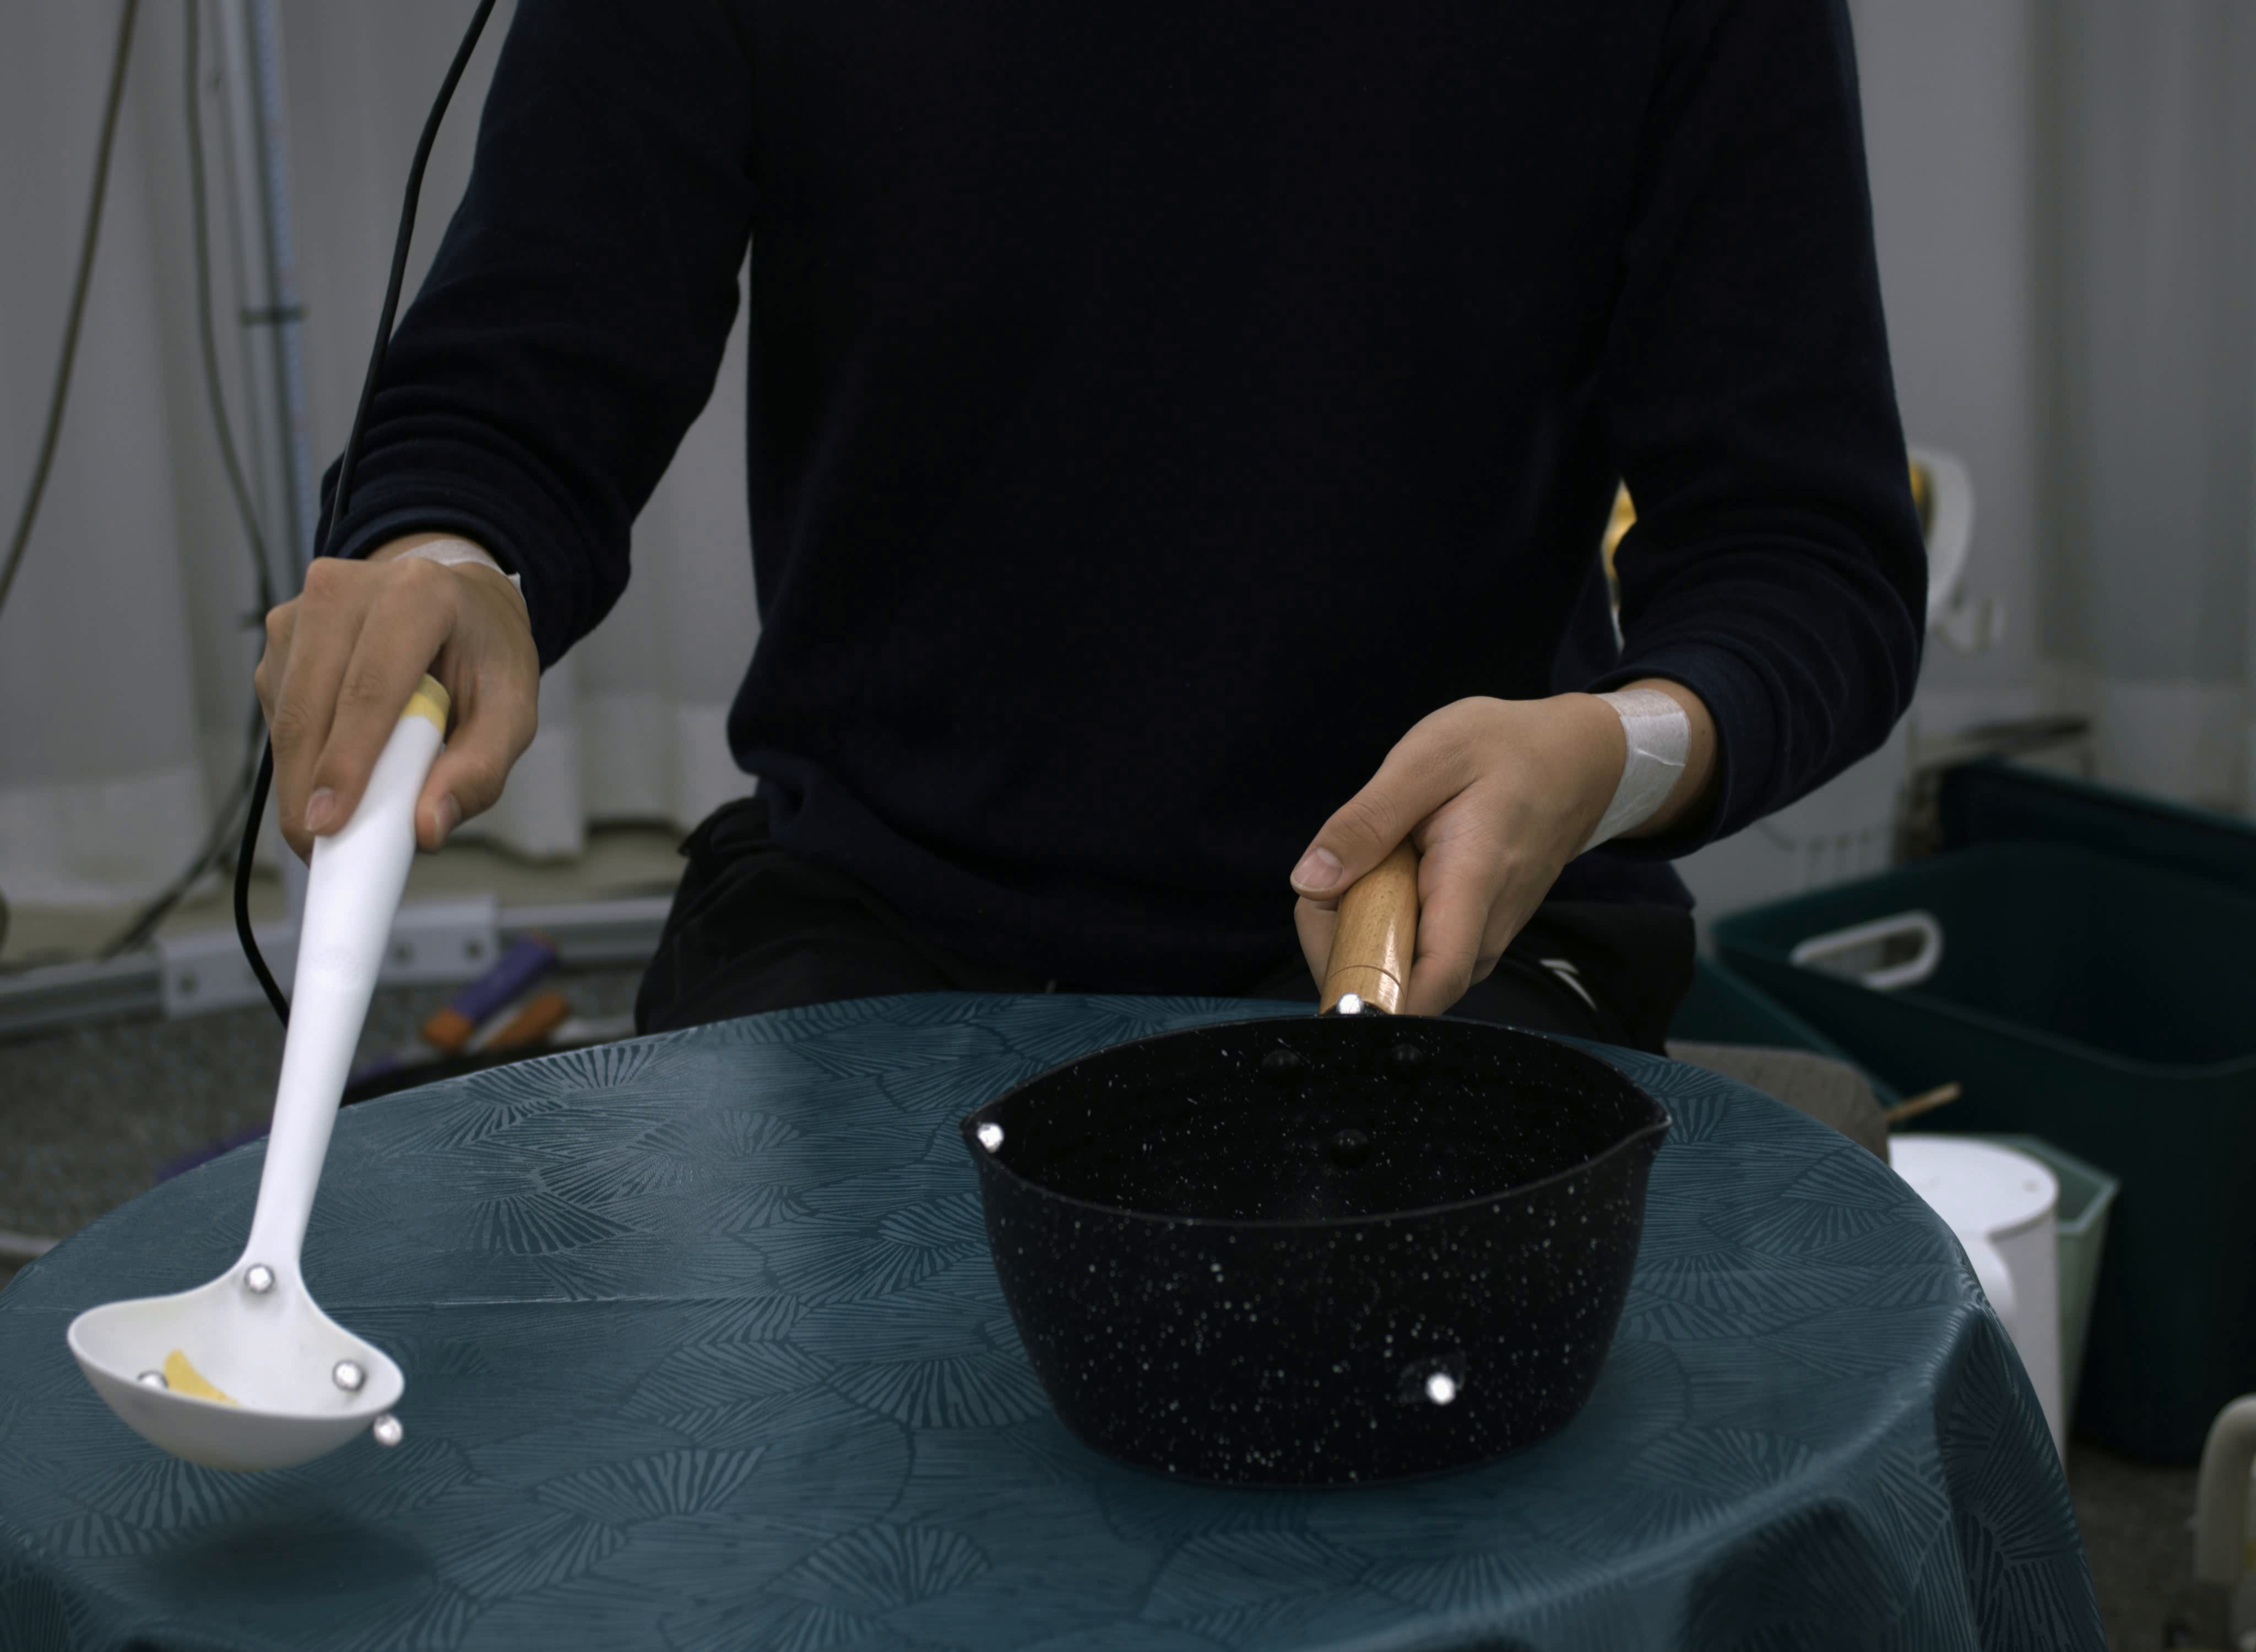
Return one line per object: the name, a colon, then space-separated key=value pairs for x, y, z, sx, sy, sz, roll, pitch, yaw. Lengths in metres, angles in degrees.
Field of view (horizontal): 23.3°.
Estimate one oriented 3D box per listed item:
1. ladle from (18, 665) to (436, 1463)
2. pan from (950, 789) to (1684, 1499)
ladle: x=-0.237 y=0.058 z=1.536 sx=0.090 sy=0.069 sz=0.297 roll=5 pitch=49 yaw=3
pan: x=0.062 y=0.087 z=1.598 sx=0.207 sy=0.108 sz=0.345 roll=-2 pitch=16 yaw=8
